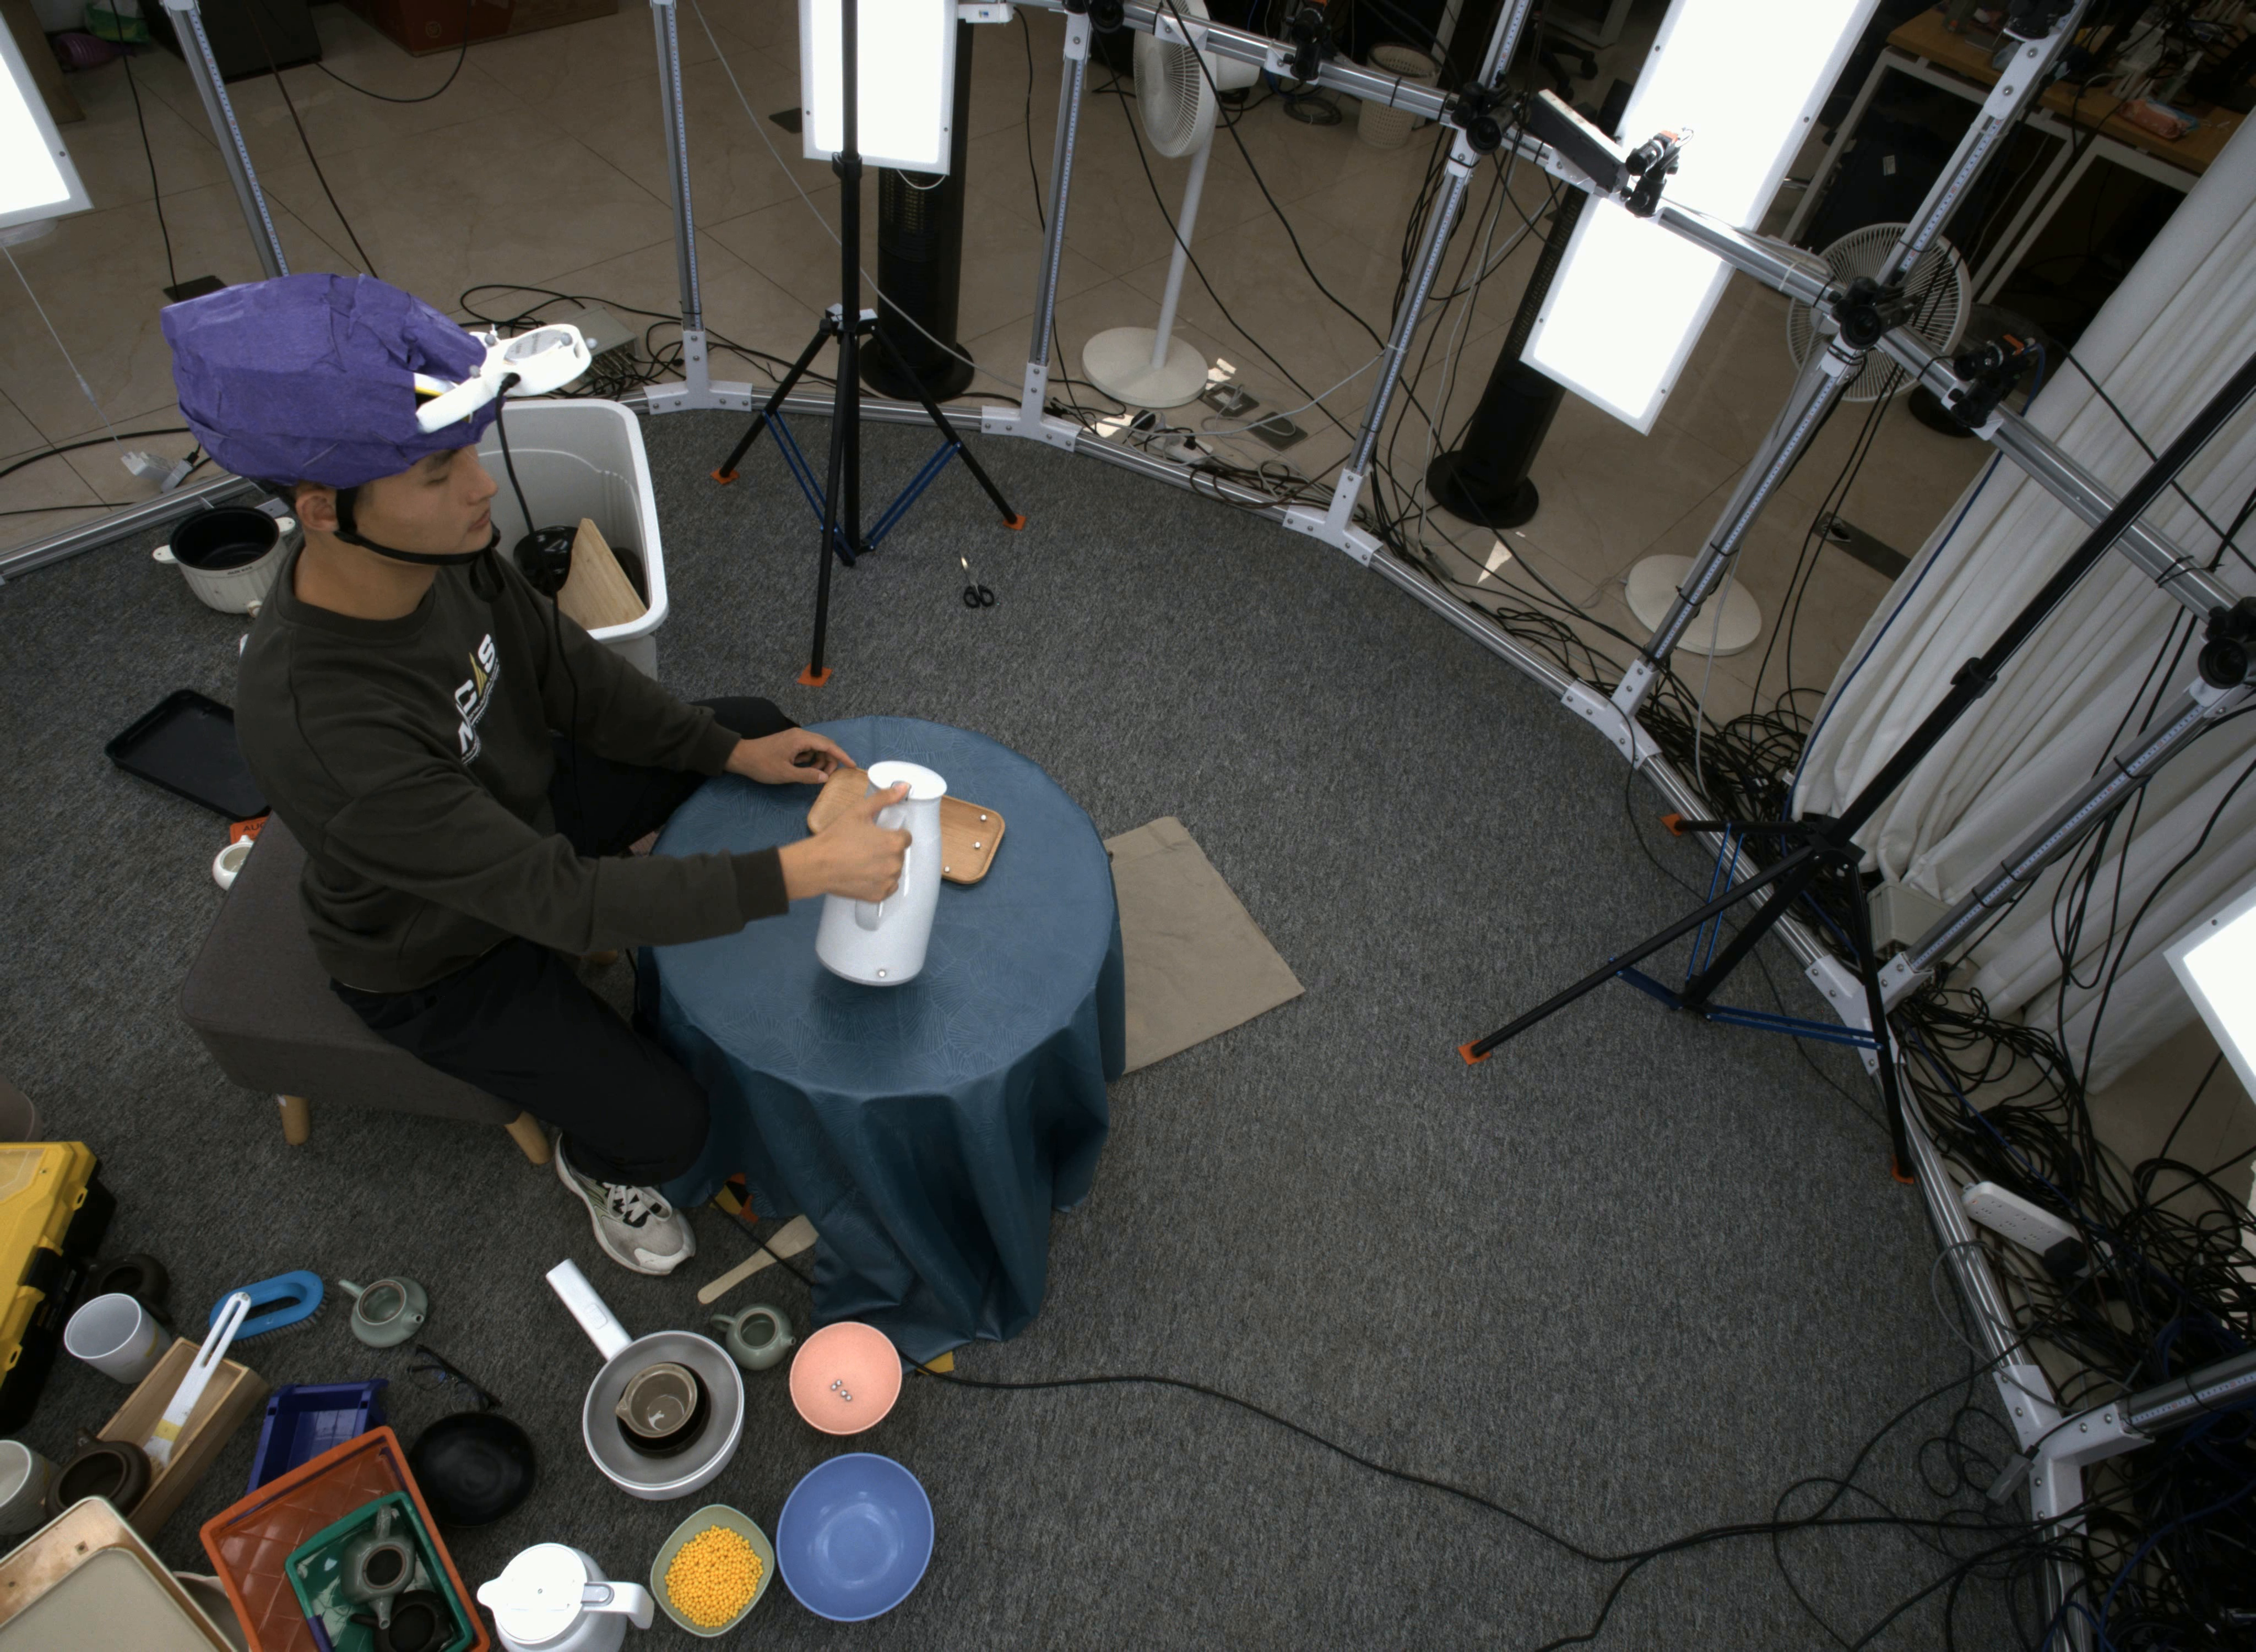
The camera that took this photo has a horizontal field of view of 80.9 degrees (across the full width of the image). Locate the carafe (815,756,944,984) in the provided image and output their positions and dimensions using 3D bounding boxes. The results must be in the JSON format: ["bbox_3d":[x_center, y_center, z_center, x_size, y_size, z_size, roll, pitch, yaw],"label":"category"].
[{"bbox_3d":[-0.284,0.051,1.514,0.132,0.254,0.165,15,23,-4],"label":"carafe"}]

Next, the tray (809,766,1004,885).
[{"bbox_3d":[-0.298,-0.002,1.757,0.248,0.023,0.129,18,49,2],"label":"tray"}]
